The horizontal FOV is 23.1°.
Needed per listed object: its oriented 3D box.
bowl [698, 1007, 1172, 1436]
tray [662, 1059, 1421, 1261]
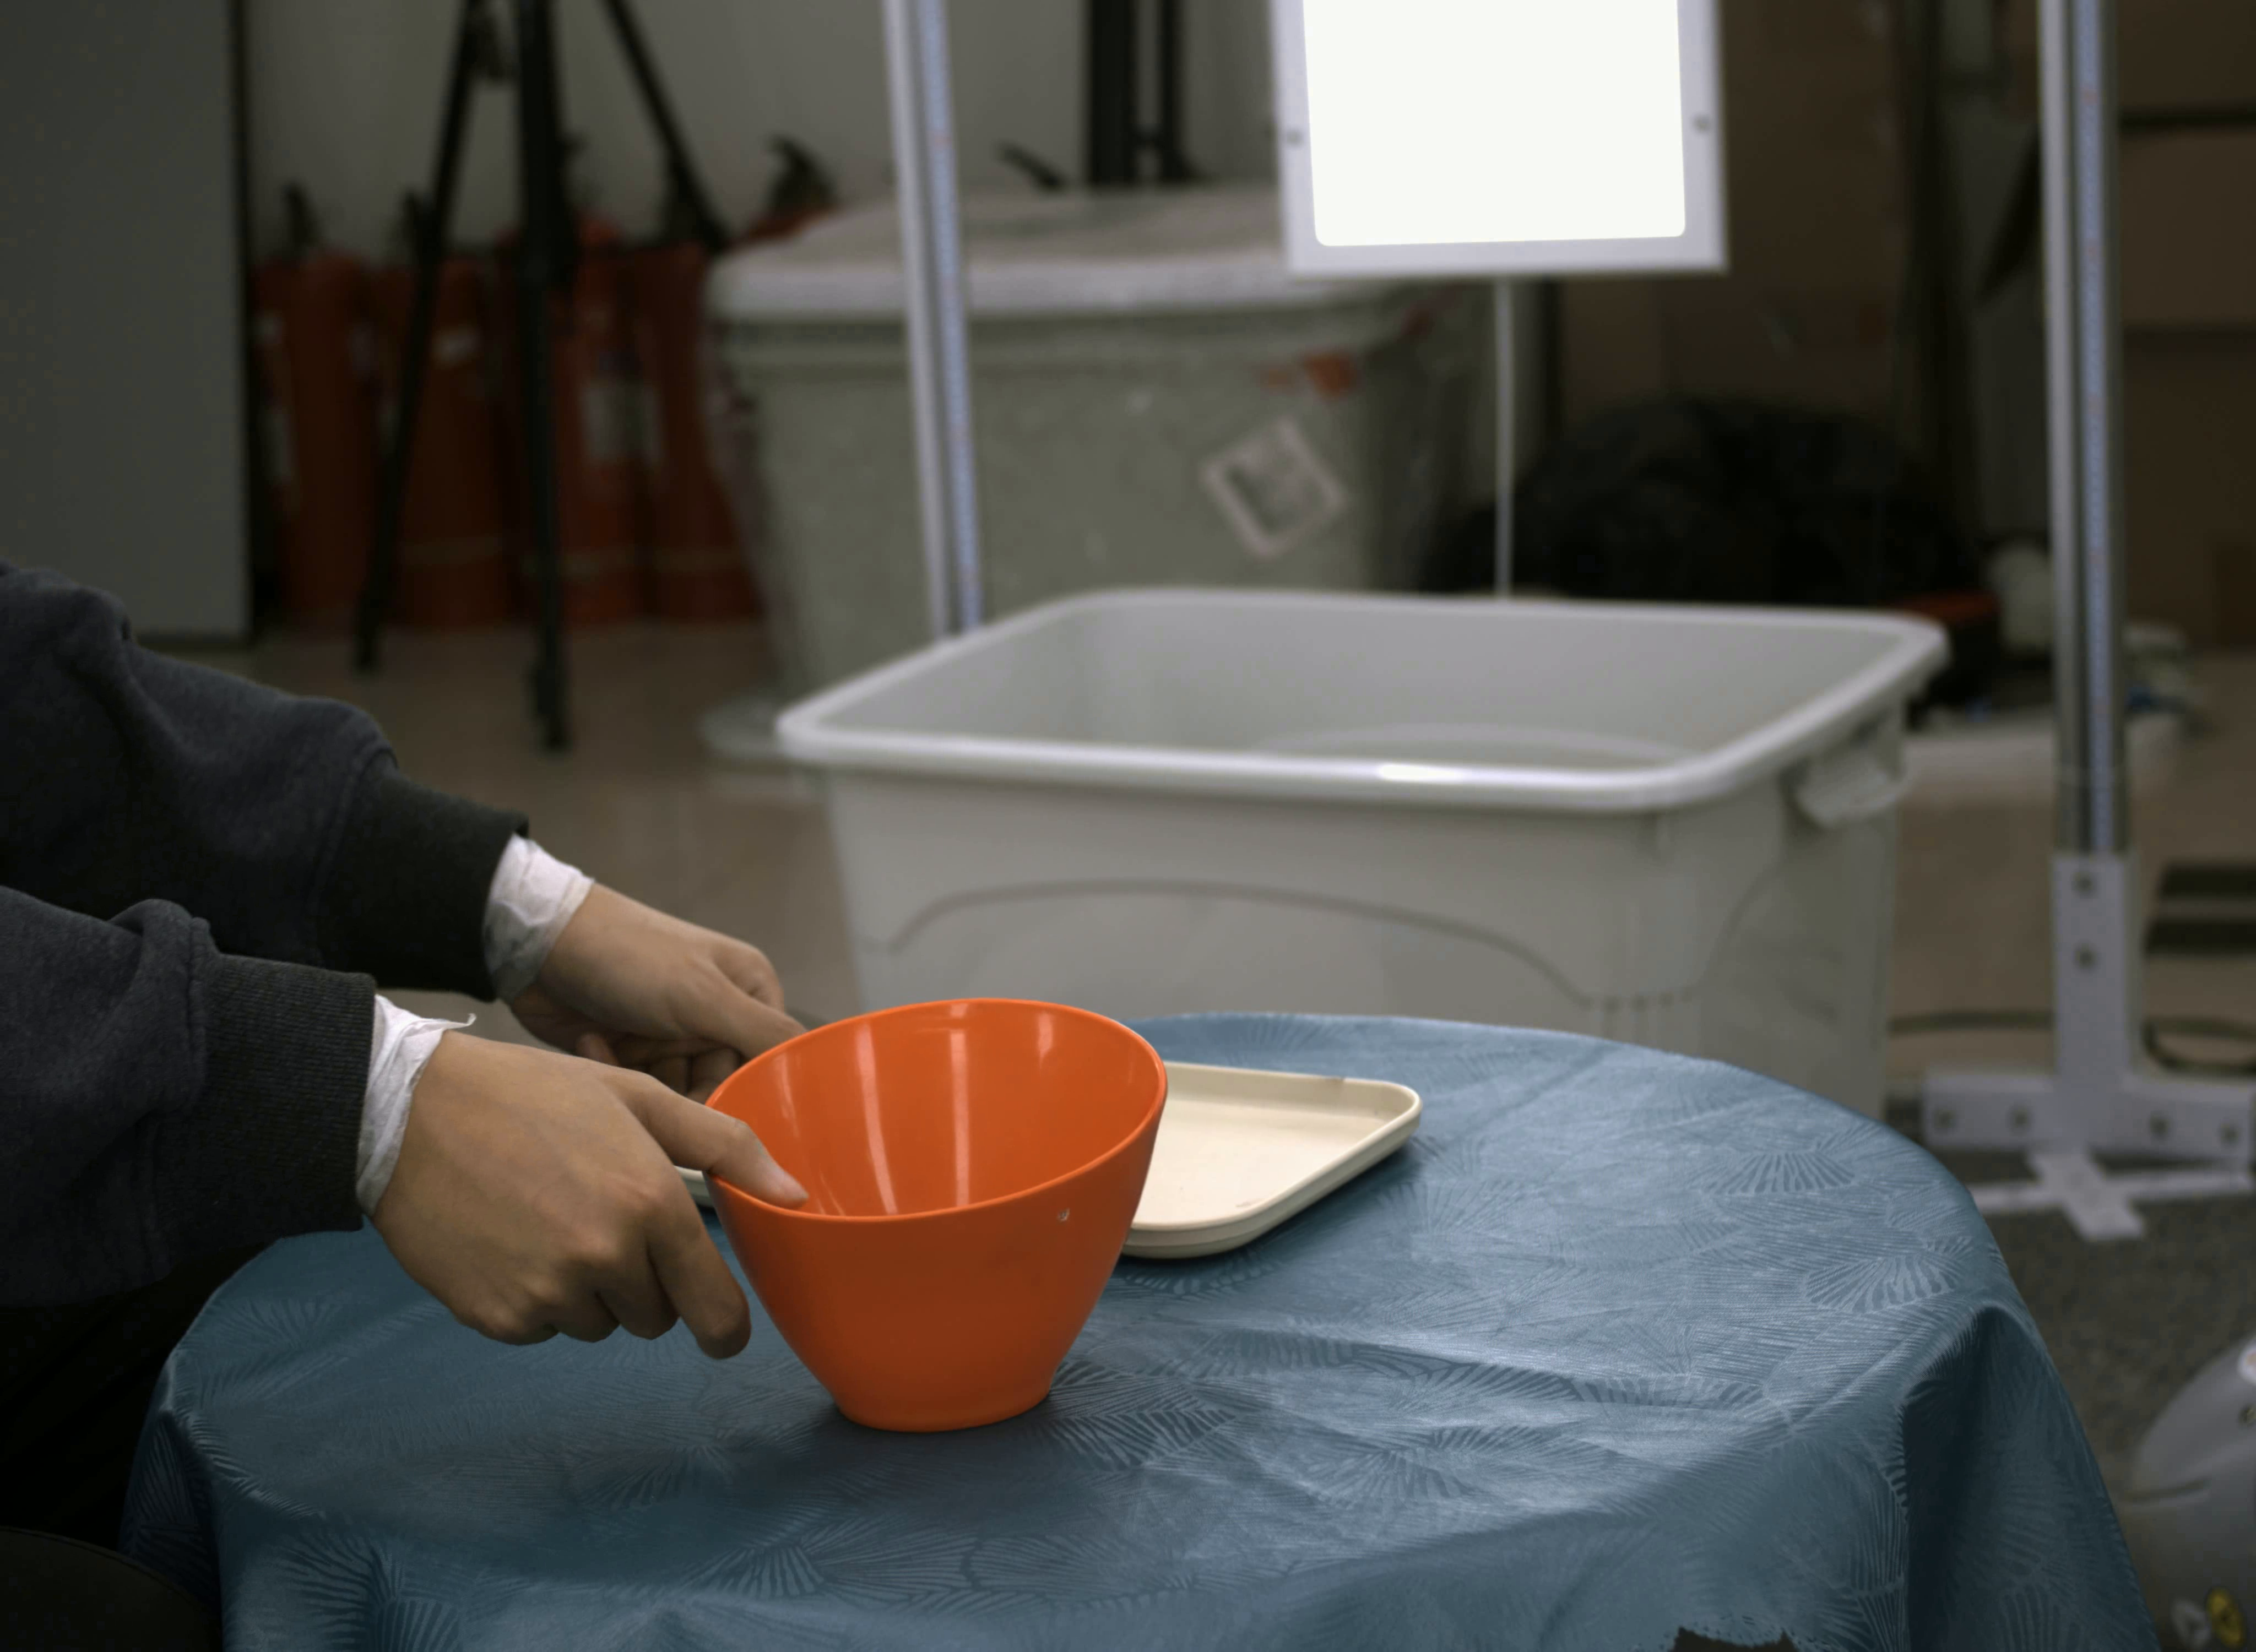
[{"bbox_3d":[-0.058,0.126,1.708,0.147,0.105,0.148,-3,13,-1],"label":"bowl"},{"bbox_3d":[-0.030,0.113,1.927,0.244,0.017,0.167,4,17,32],"label":"tray"}]
